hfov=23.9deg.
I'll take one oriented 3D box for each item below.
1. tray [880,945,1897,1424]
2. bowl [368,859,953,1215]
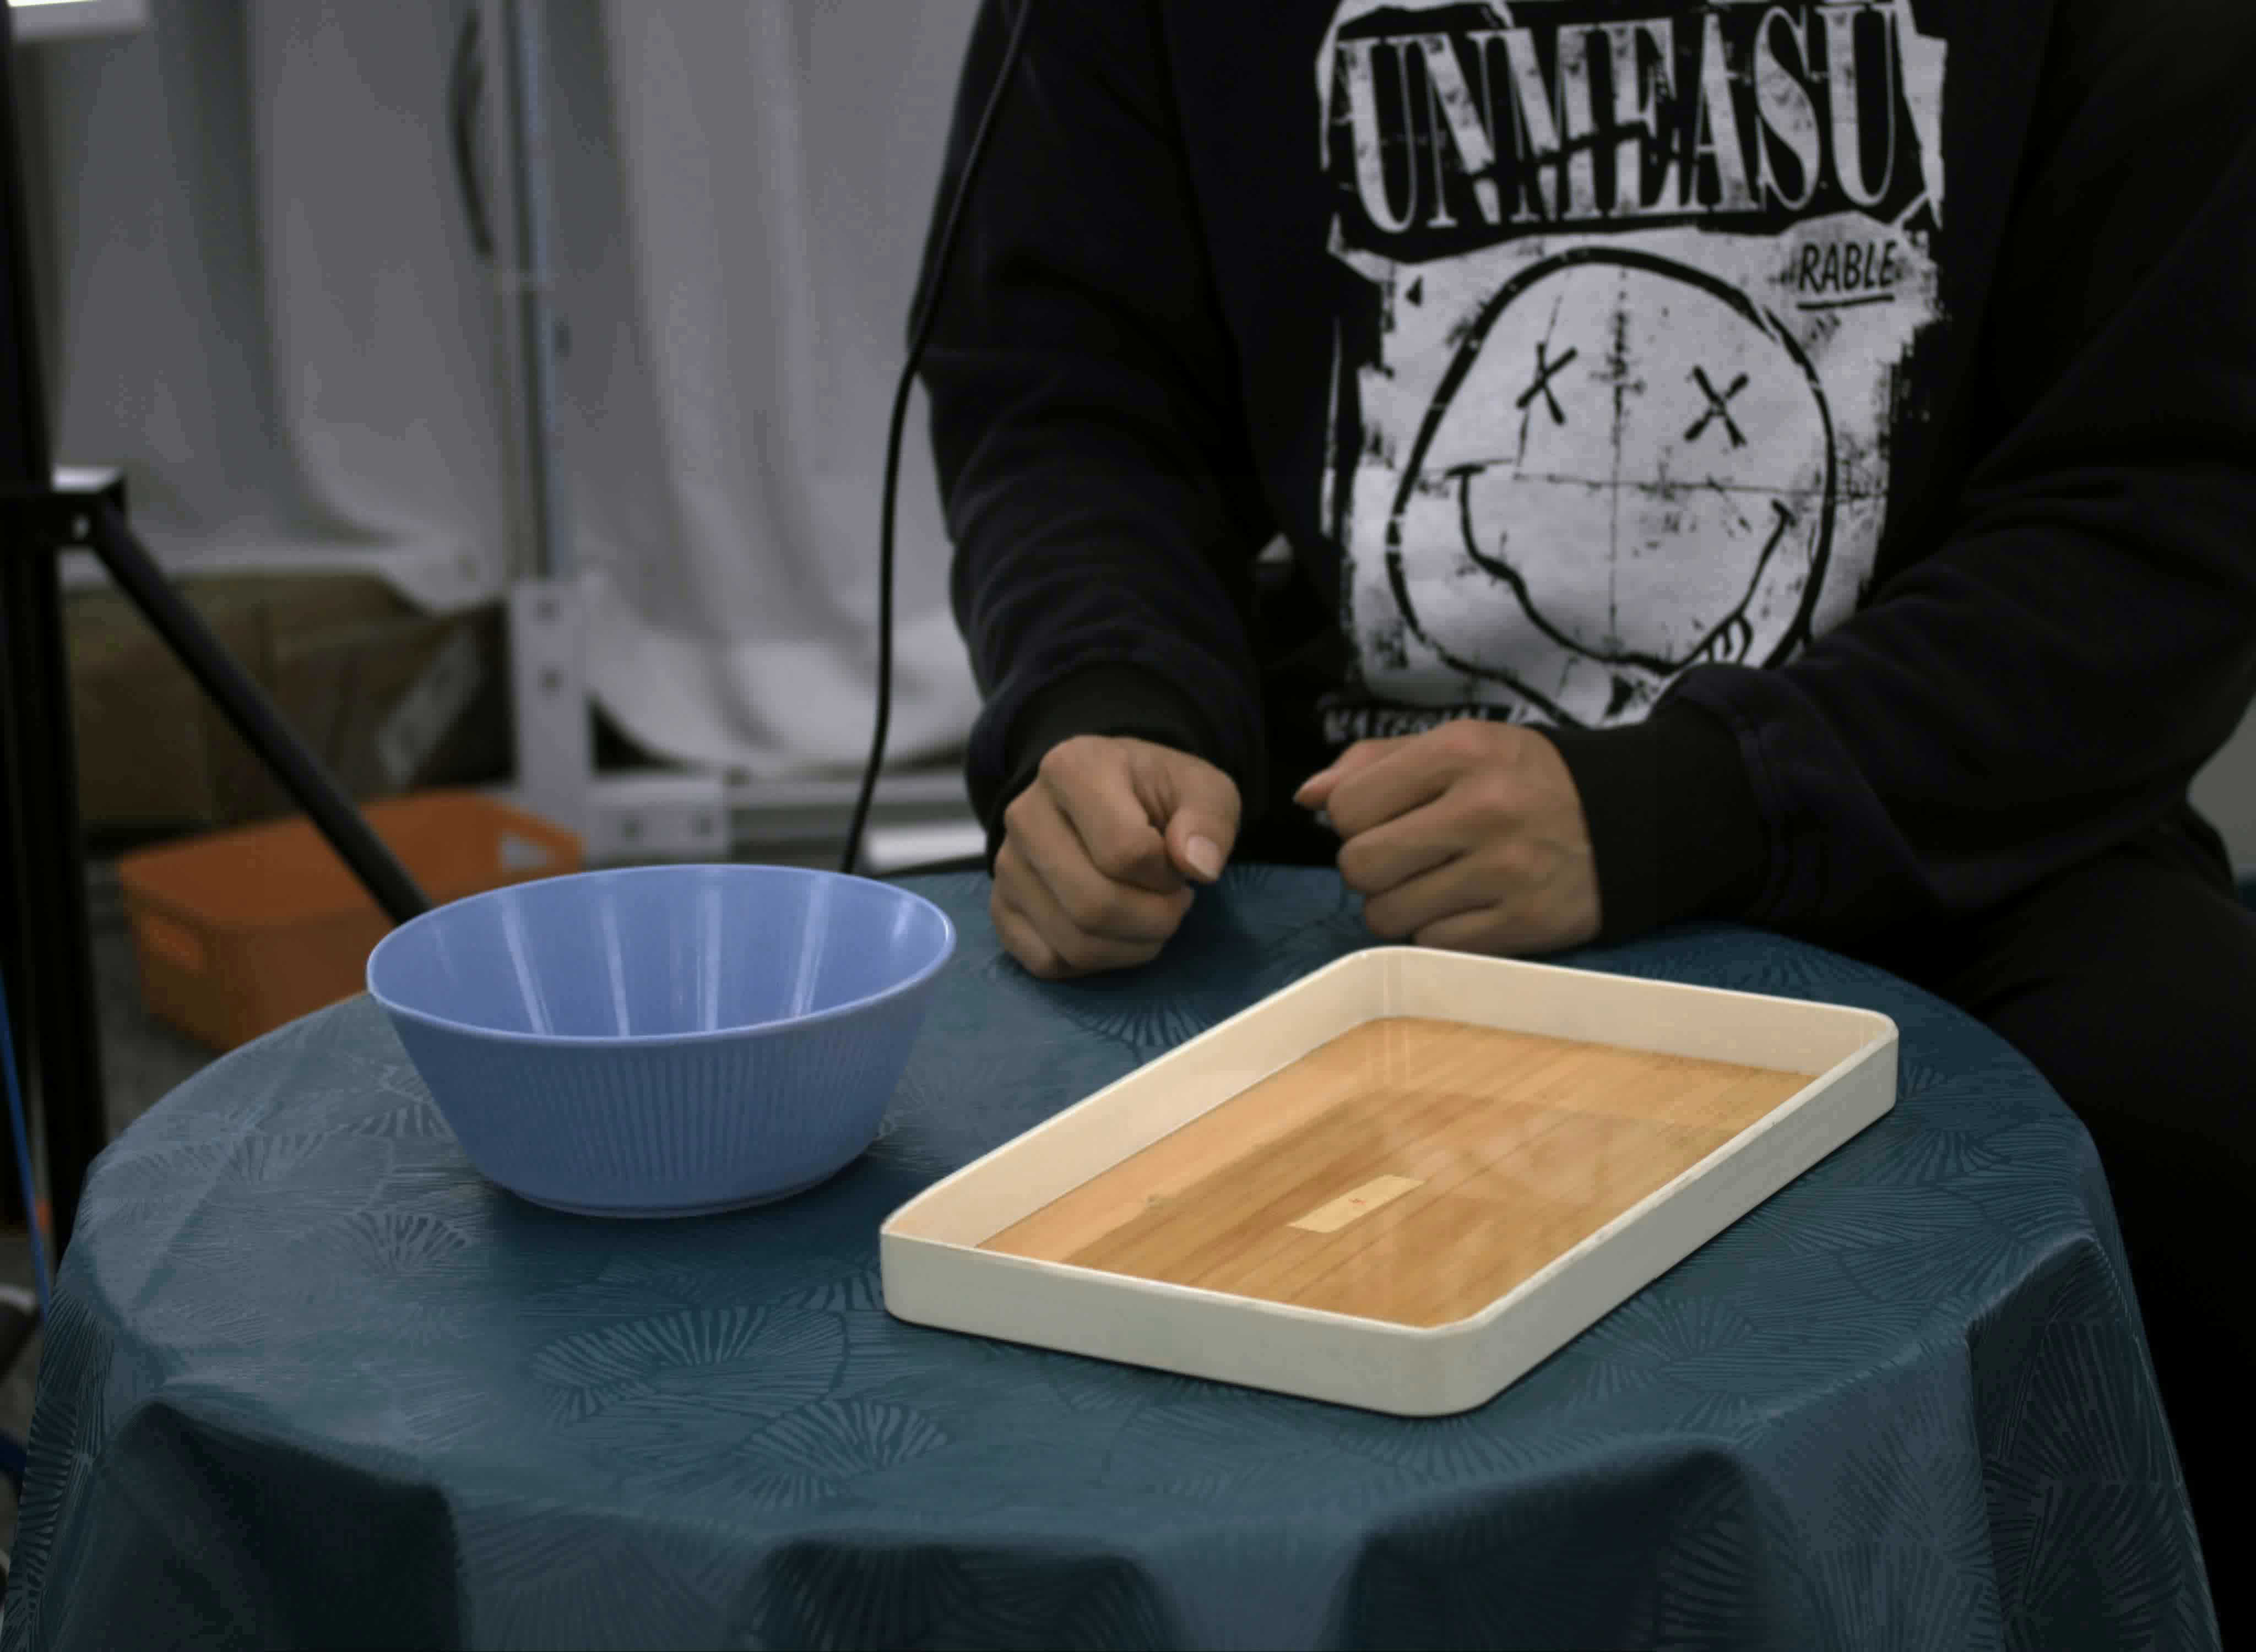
[{"bbox_3d":[0.082,0.098,1.533,0.195,0.027,0.295,8,19,31],"label":"tray"},{"bbox_3d":[-0.138,0.066,1.599,0.175,0.070,0.177,-2,17,-1],"label":"bowl"}]
